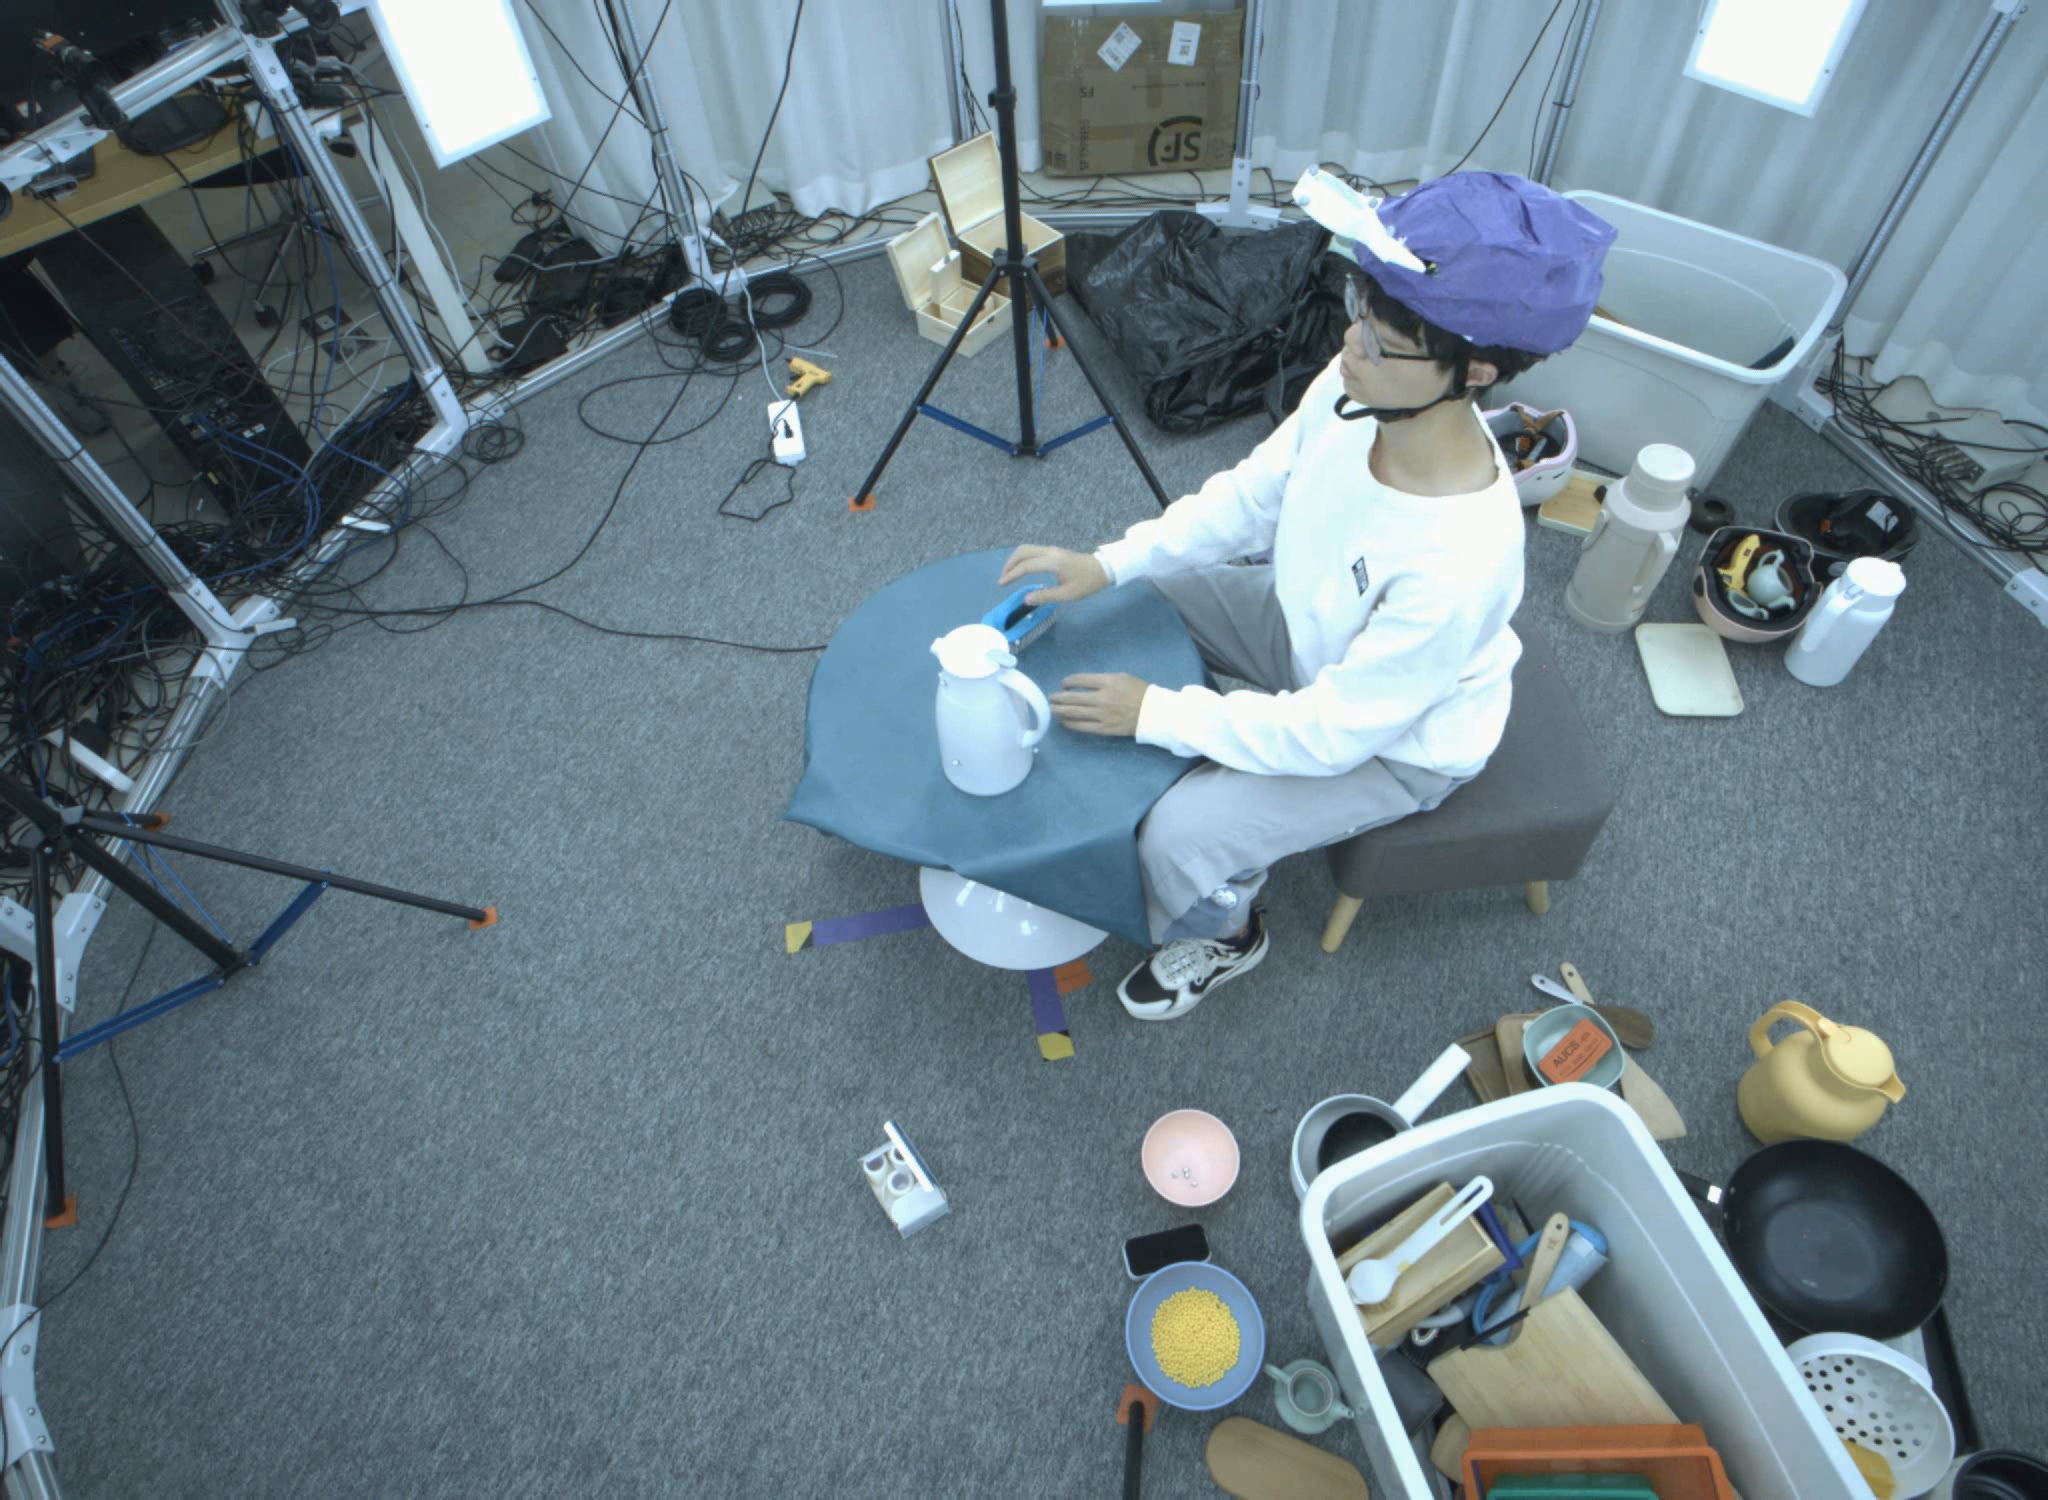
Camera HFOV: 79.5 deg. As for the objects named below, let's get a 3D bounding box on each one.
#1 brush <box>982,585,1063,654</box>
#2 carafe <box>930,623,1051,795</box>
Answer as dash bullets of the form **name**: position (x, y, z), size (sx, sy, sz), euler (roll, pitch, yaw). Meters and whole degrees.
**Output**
- **brush**: position (-0.007, -0.214, 1.897), size (0.143, 0.064, 0.082), euler (-39, 57, -23)
- **carafe**: position (-0.041, -0.056, 1.671), size (0.166, 0.251, 0.132), euler (20, 58, 16)
